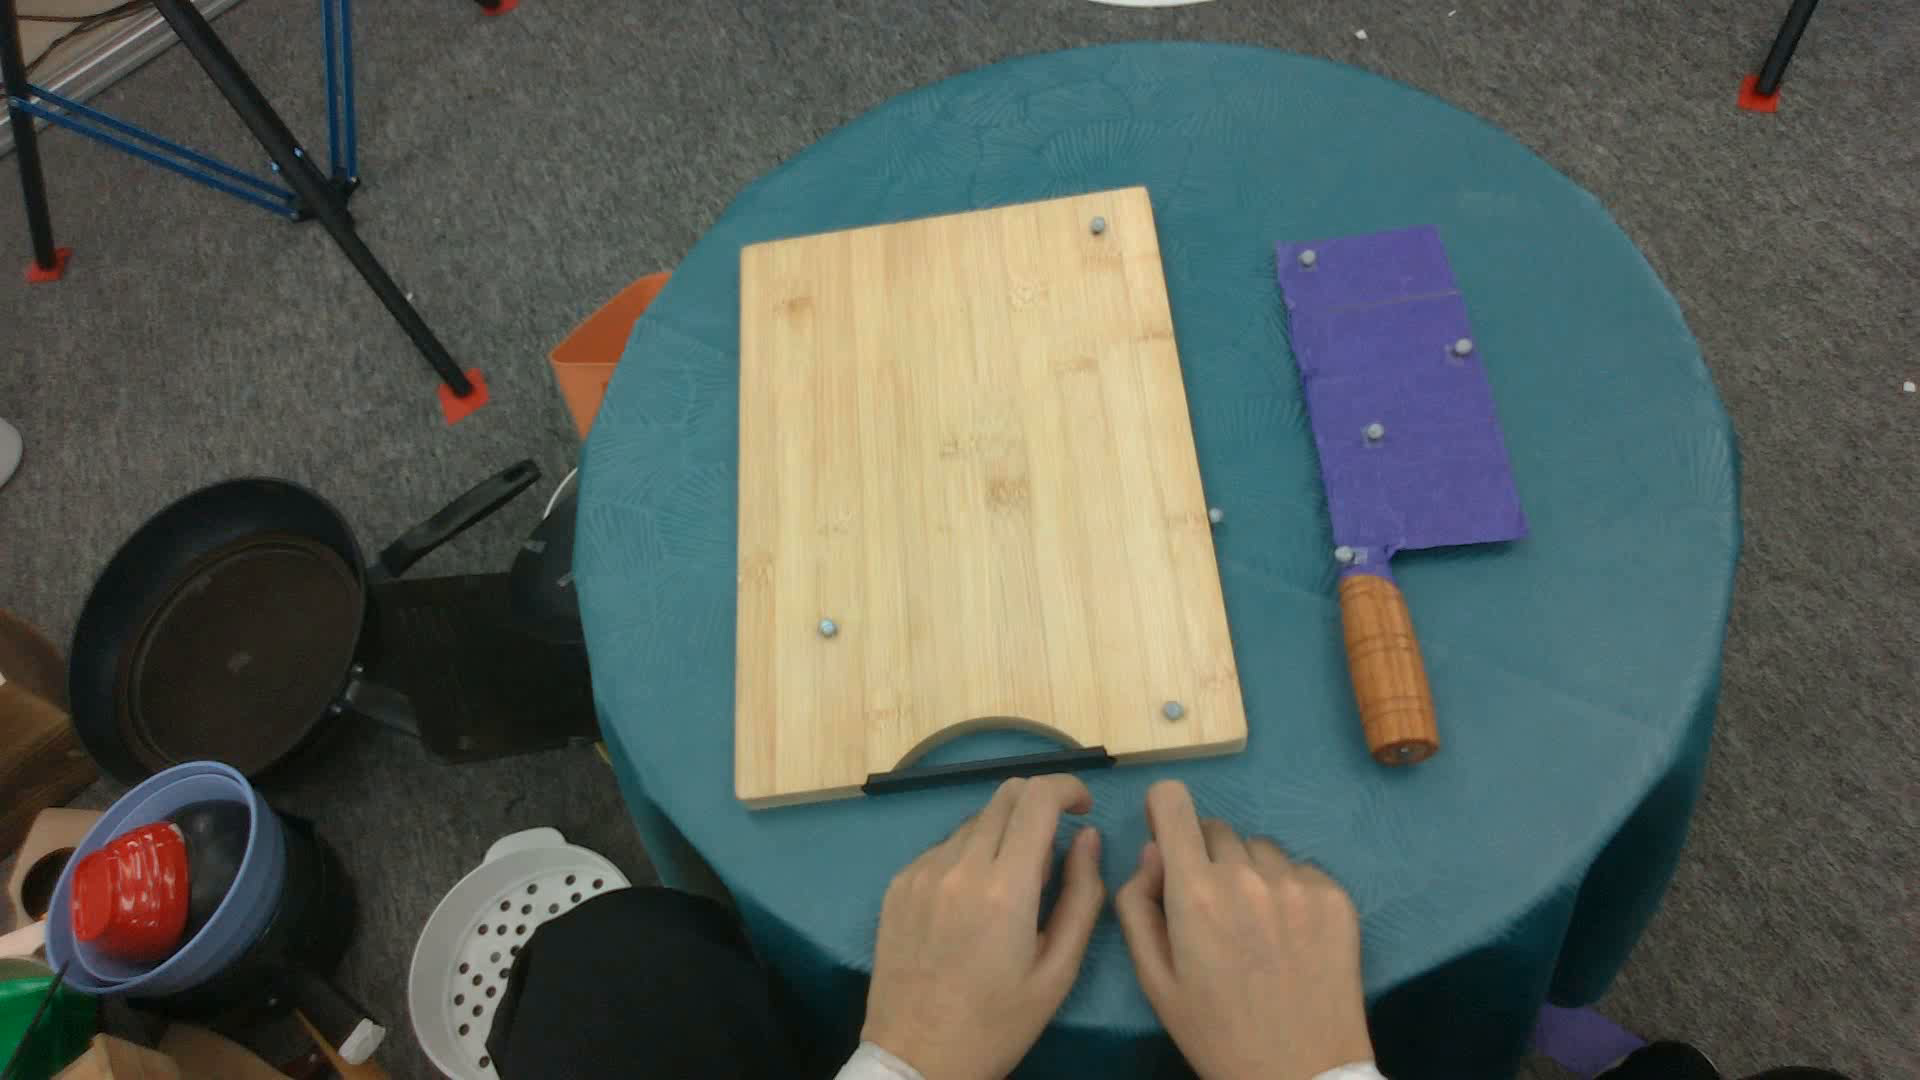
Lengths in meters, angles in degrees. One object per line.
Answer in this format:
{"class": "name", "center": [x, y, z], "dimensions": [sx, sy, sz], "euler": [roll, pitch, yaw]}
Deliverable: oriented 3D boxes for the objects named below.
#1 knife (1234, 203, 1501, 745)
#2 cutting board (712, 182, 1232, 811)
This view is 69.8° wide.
{"class": "knife", "center": [0.215, -0.052, 0.691], "dimensions": [0.104, 0.032, 0.316], "euler": [-7, 60, 5]}
{"class": "cutting board", "center": [-0.007, -0.040, 0.721], "dimensions": [0.250, 0.023, 0.350], "euler": [-8, 61, 4]}
